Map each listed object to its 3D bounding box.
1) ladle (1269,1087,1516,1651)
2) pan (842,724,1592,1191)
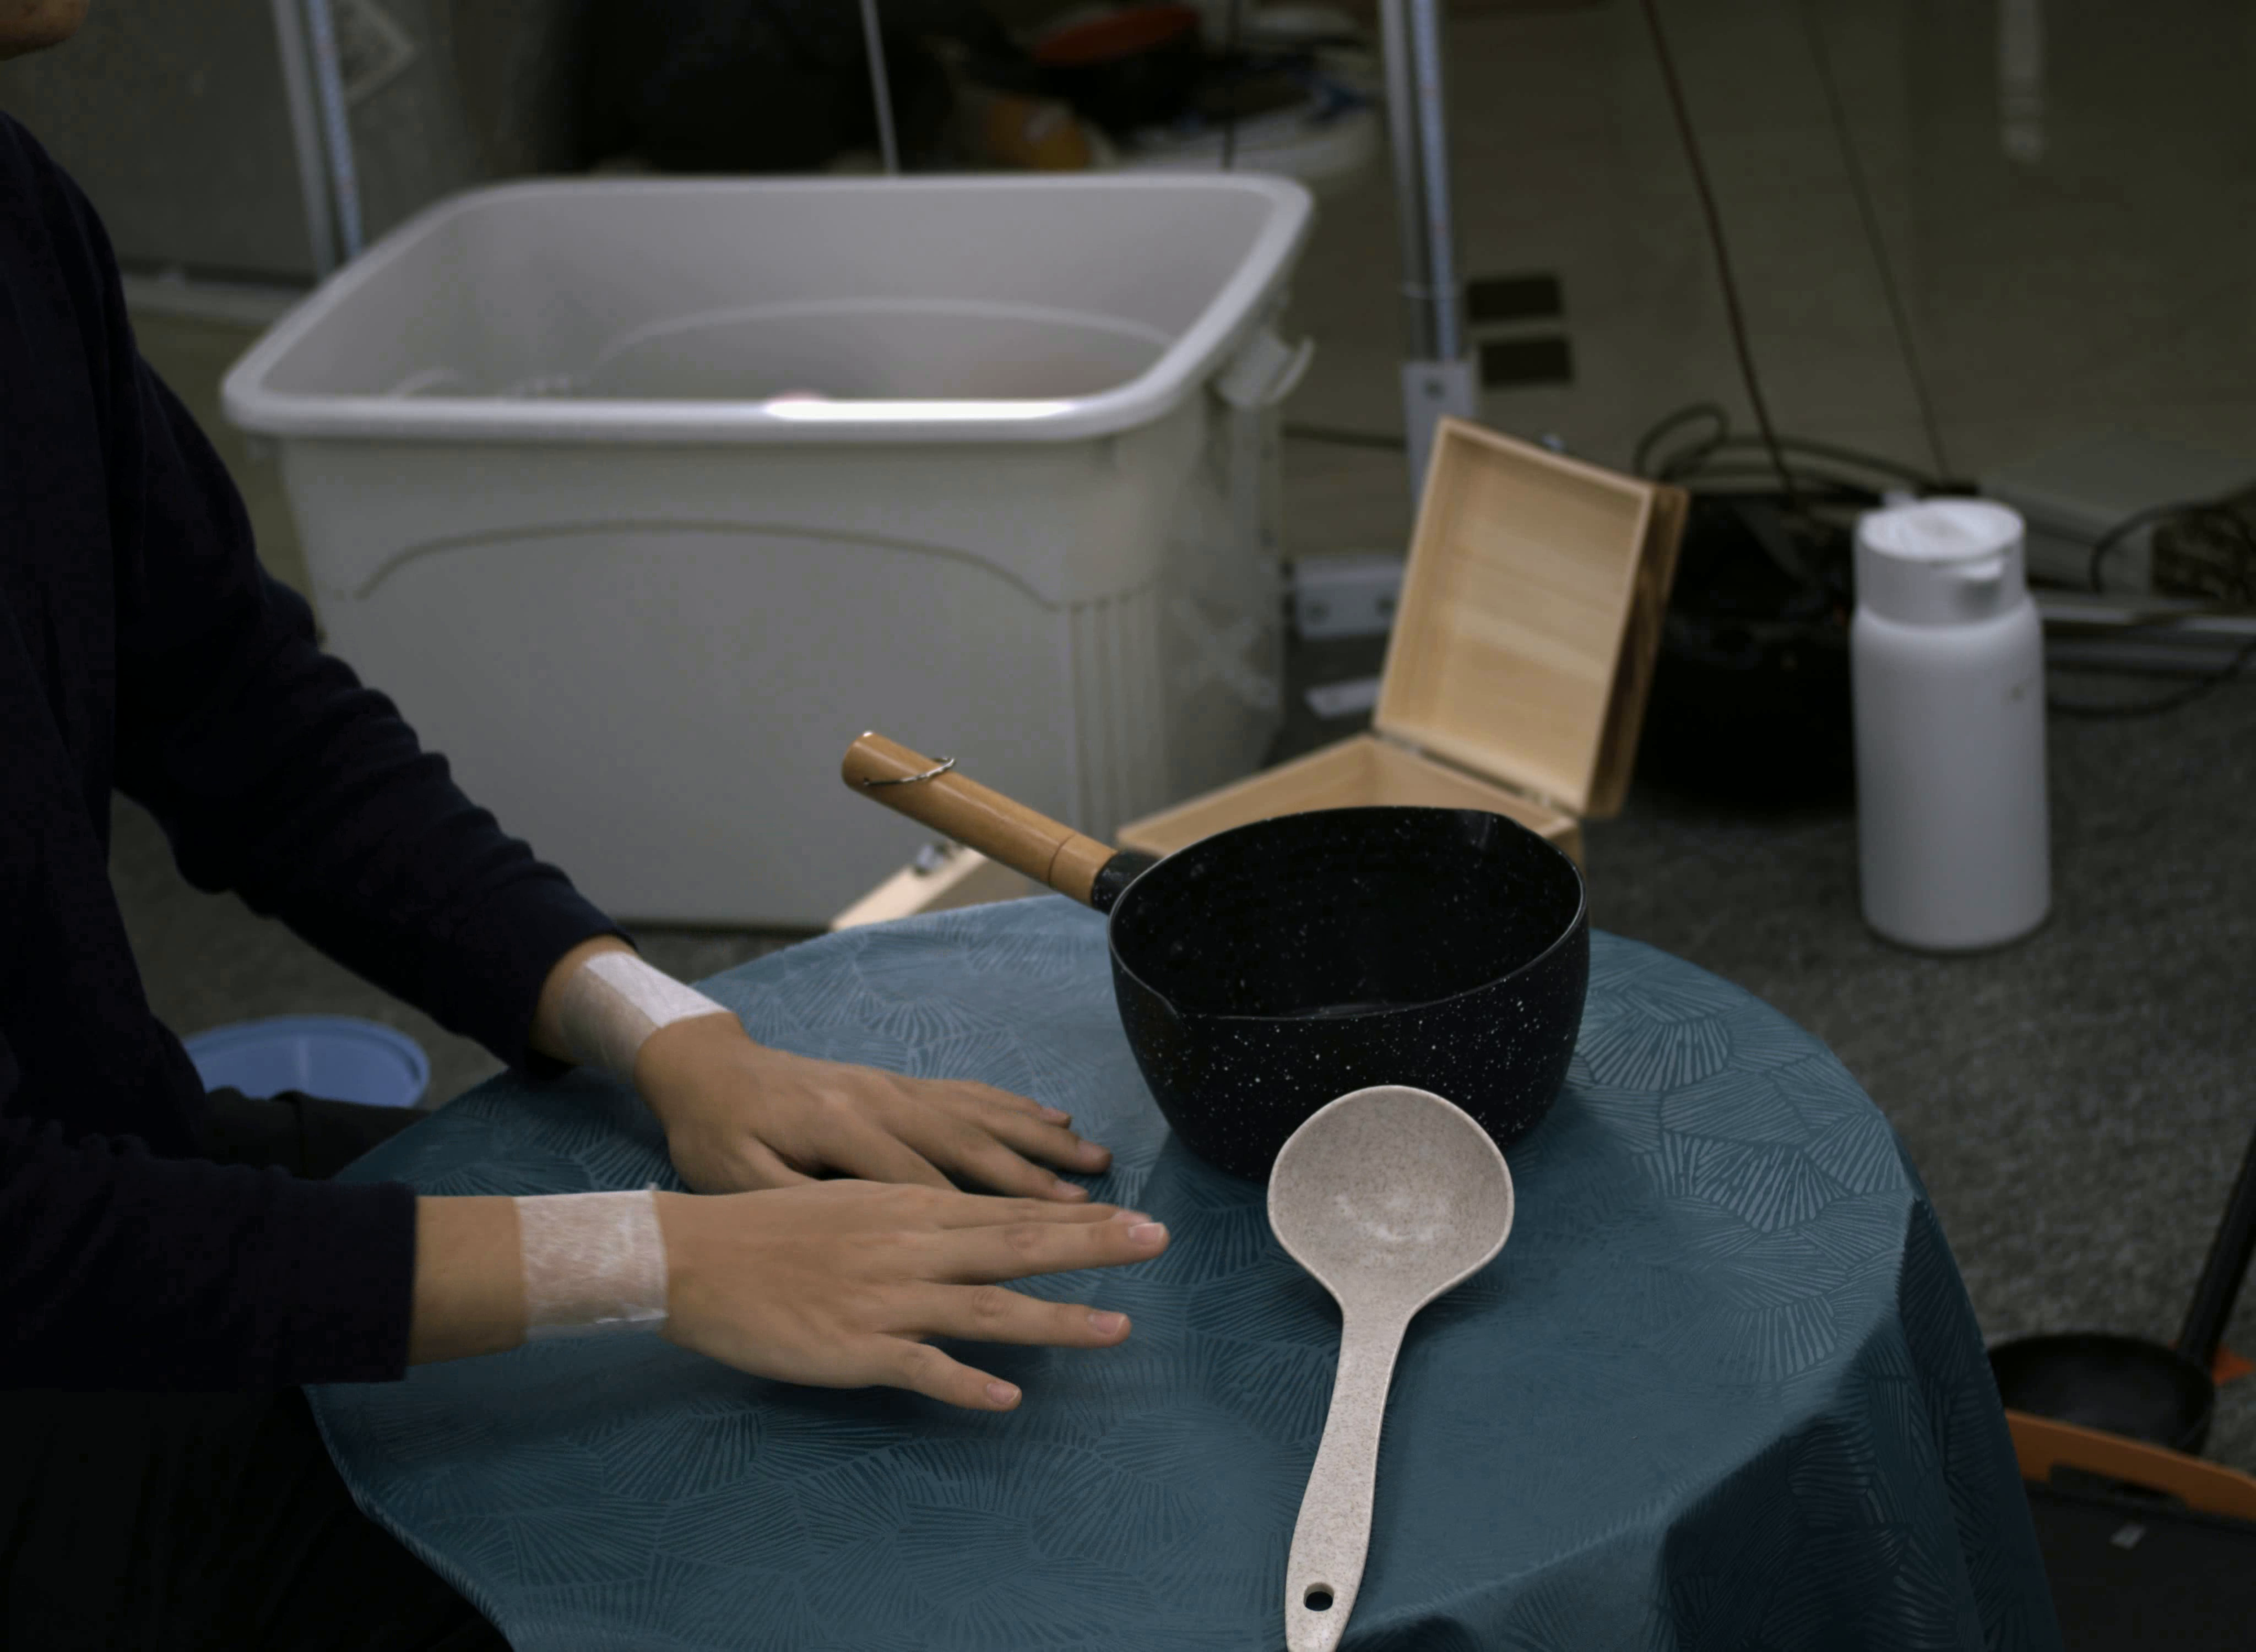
[{"bbox_3d":[0.081,0.184,1.954,0.089,0.070,0.271,9,28,4],"label":"ladle"},{"bbox_3d":[0.024,0.043,2.216,0.340,0.110,0.205,15,34,35],"label":"pan"}]
